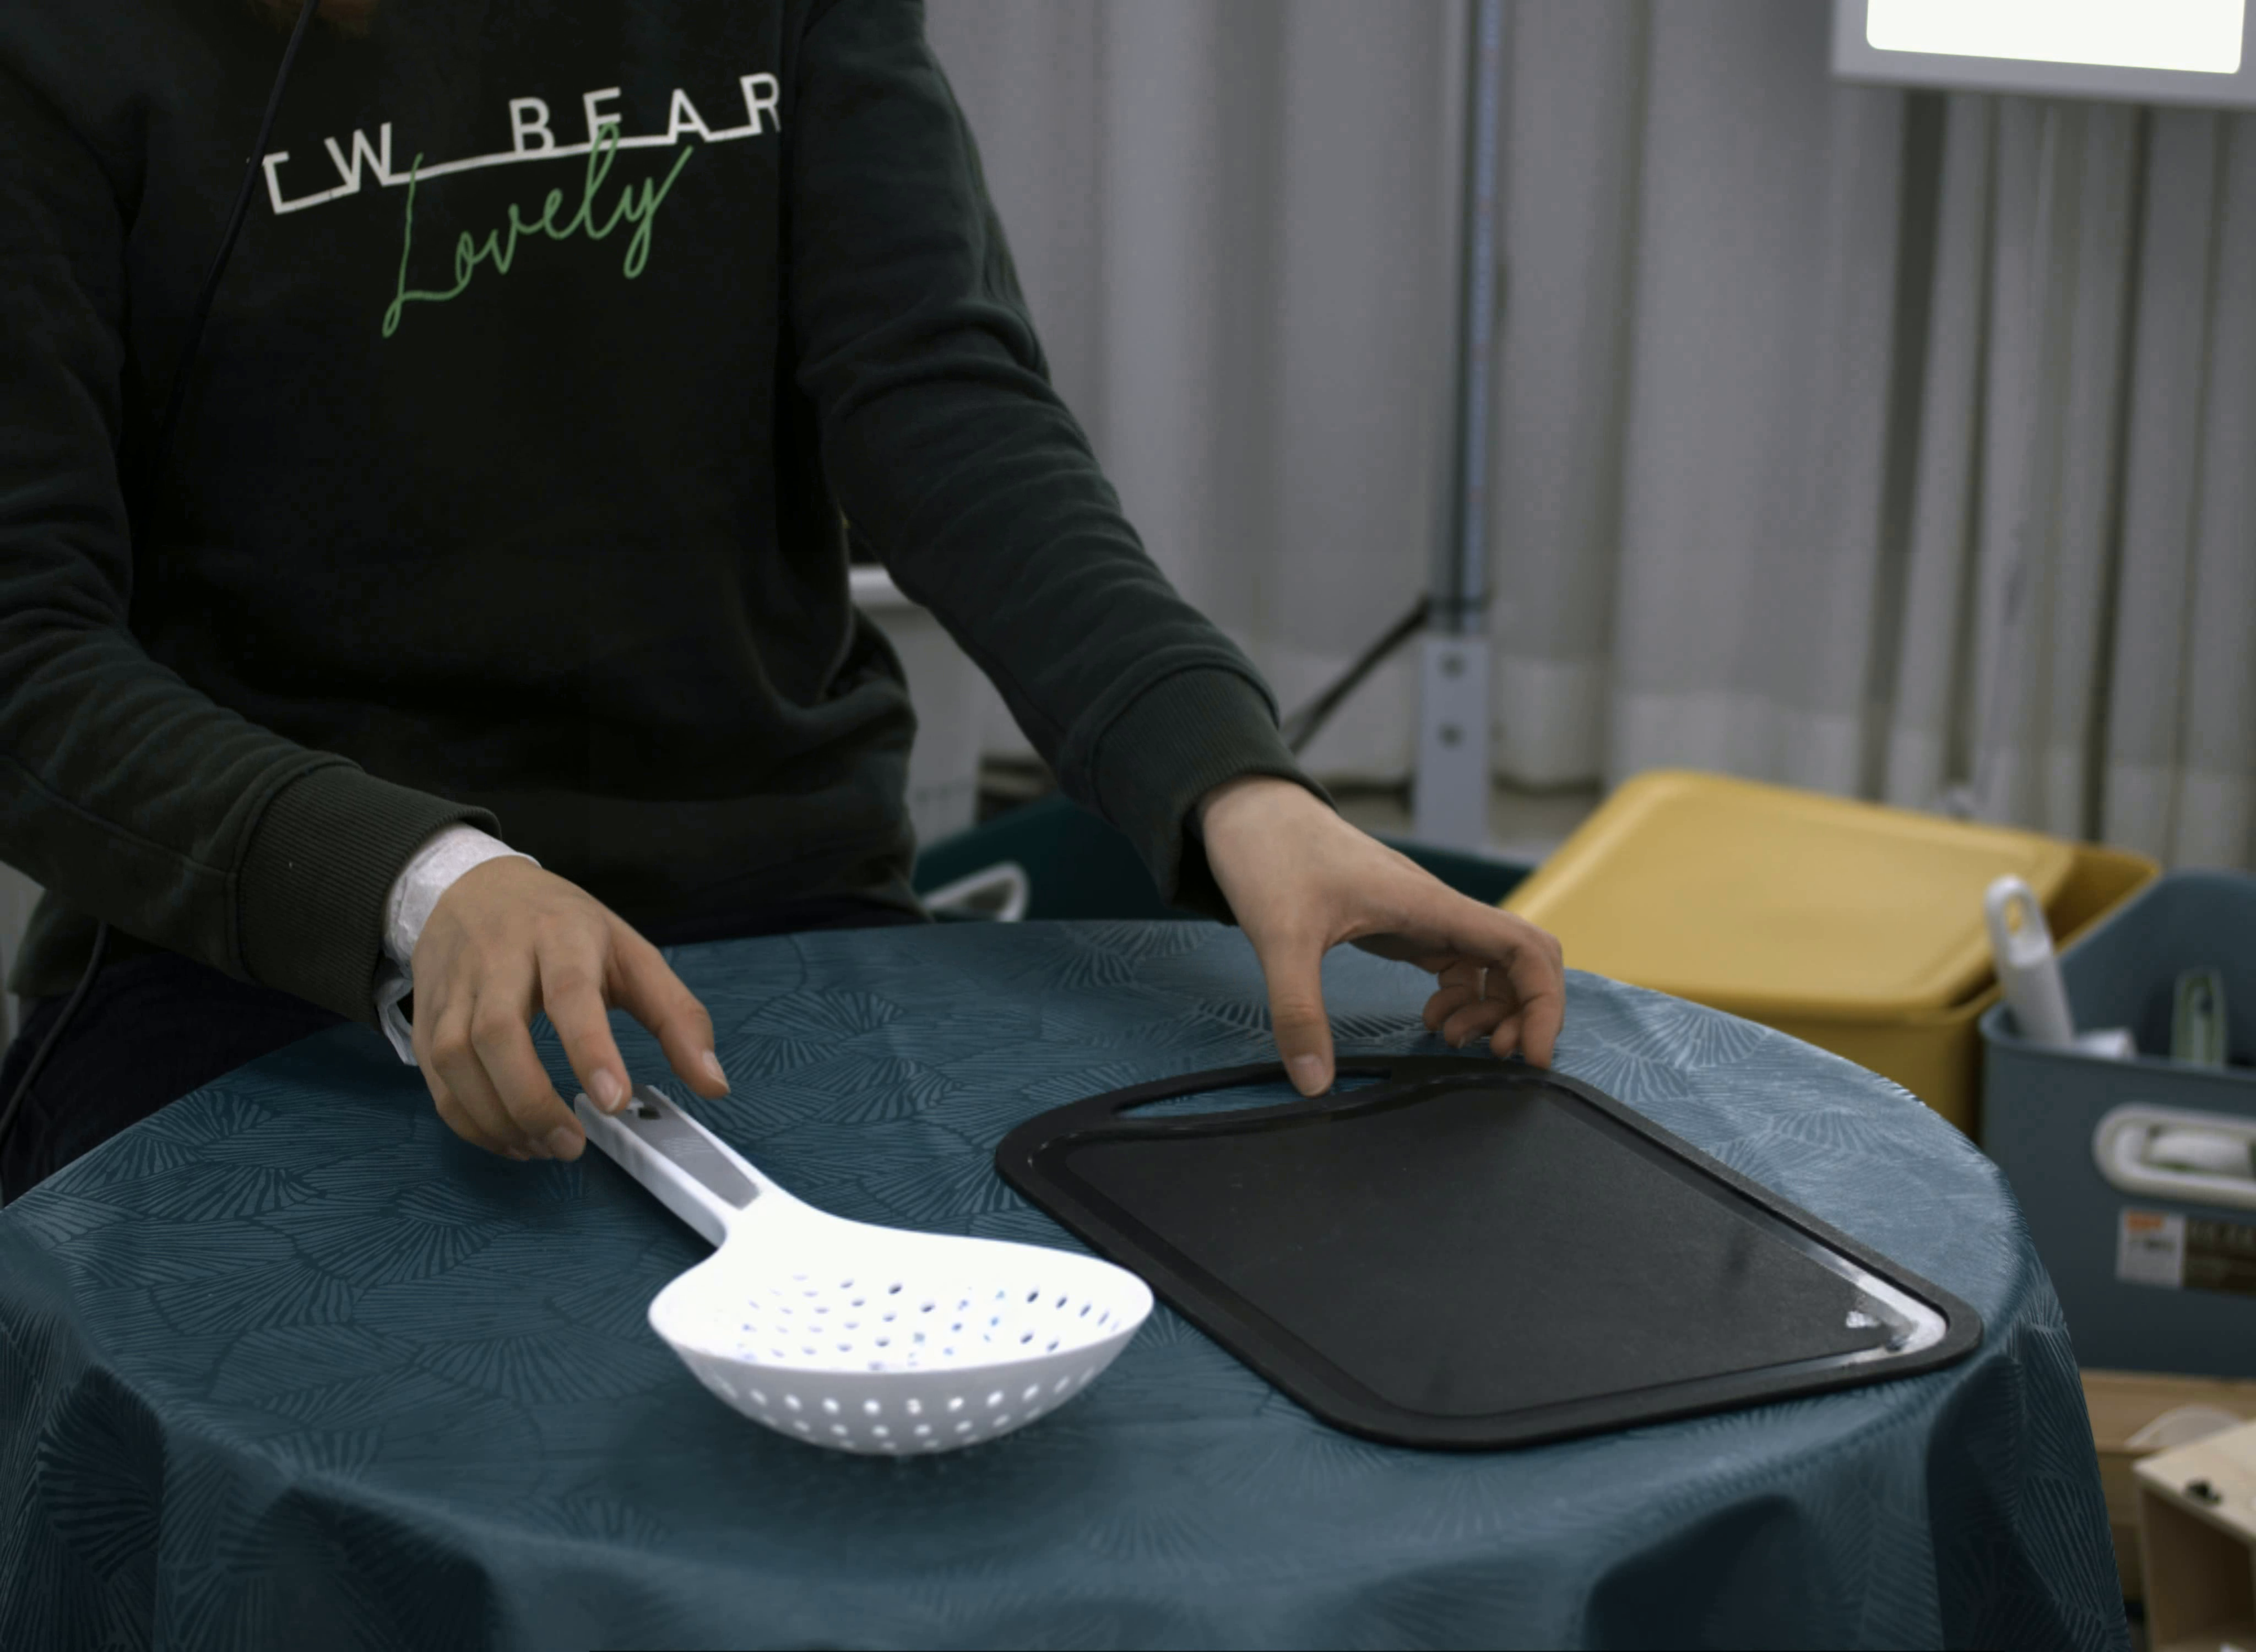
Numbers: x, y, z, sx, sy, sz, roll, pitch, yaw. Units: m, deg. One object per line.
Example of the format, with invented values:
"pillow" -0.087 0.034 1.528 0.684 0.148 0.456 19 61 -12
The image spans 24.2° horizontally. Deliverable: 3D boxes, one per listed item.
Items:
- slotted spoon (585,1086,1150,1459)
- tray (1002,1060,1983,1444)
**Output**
"slotted spoon" -0.100 0.119 1.517 0.136 0.046 0.346 -3 15 -21
"tray" 0.098 0.120 1.590 0.212 0.010 0.321 -6 17 -24
